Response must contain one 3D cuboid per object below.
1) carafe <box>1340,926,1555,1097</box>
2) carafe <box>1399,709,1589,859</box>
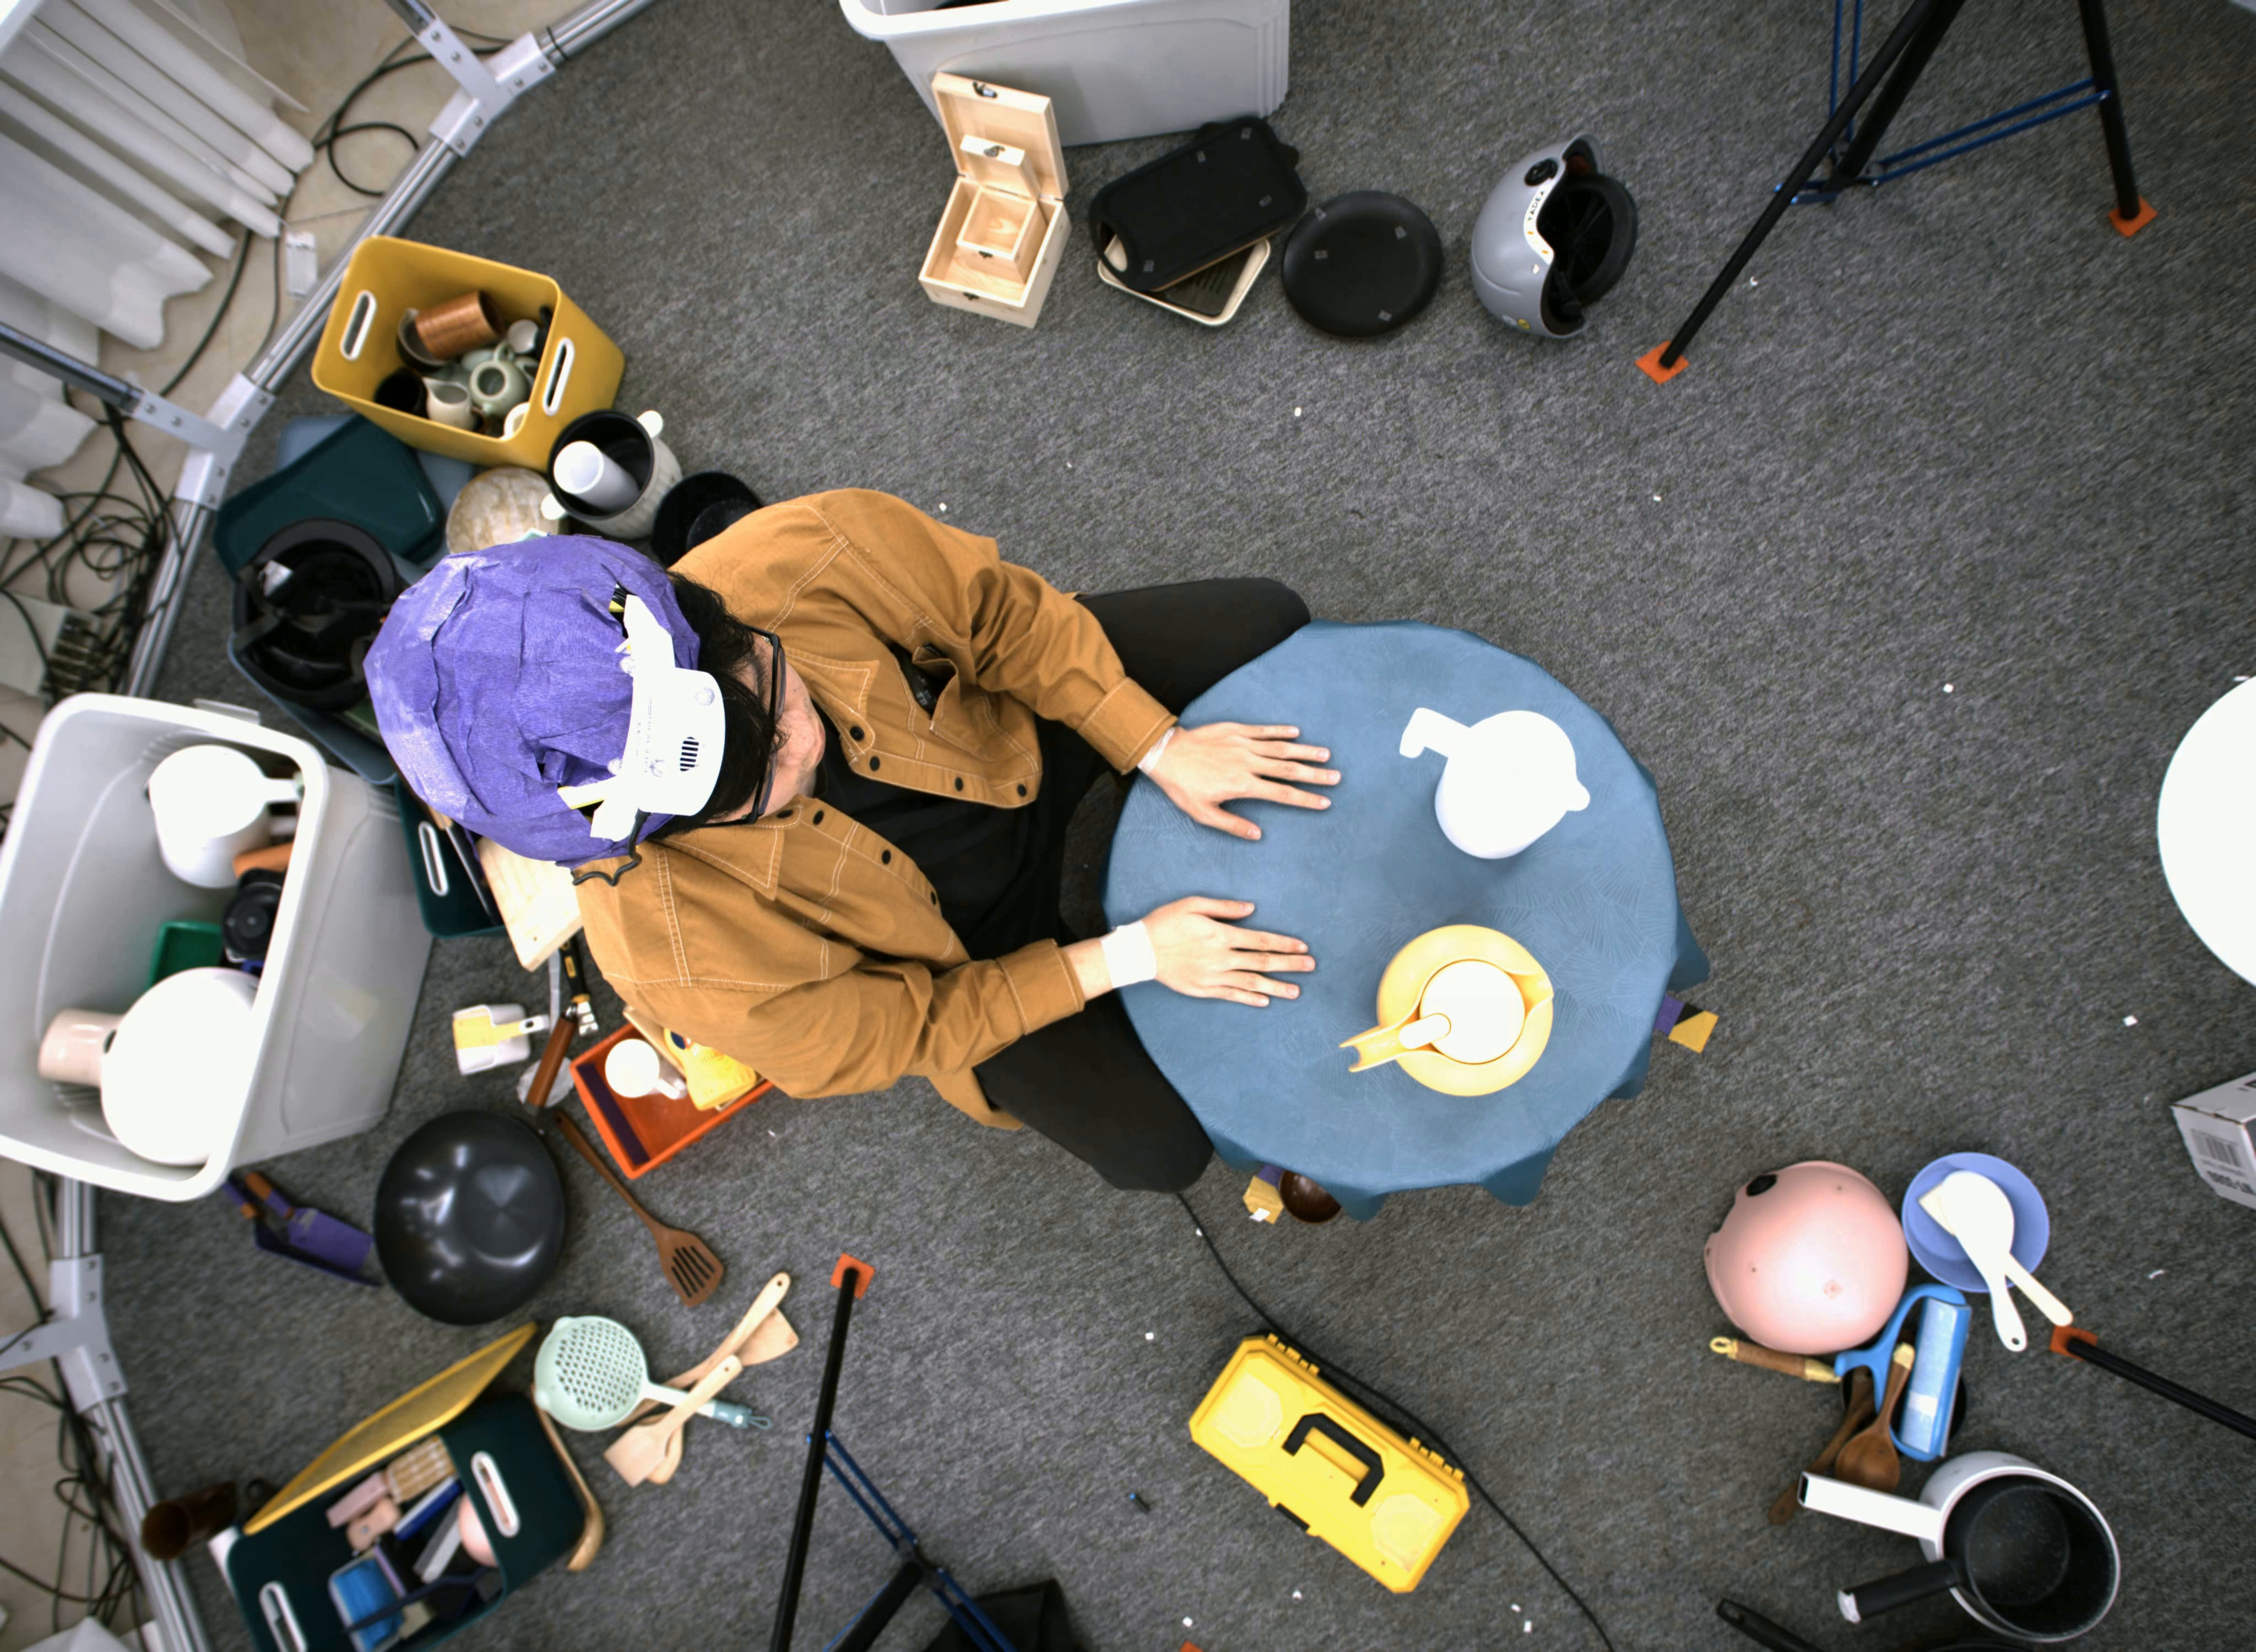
[{"bbox_3d":[0.301,0.180,1.317,0.203,0.261,0.162,-20,79,7],"label":"carafe"},{"bbox_3d":[0.343,-0.045,1.317,0.172,0.268,0.124,27,92,12],"label":"carafe"}]
